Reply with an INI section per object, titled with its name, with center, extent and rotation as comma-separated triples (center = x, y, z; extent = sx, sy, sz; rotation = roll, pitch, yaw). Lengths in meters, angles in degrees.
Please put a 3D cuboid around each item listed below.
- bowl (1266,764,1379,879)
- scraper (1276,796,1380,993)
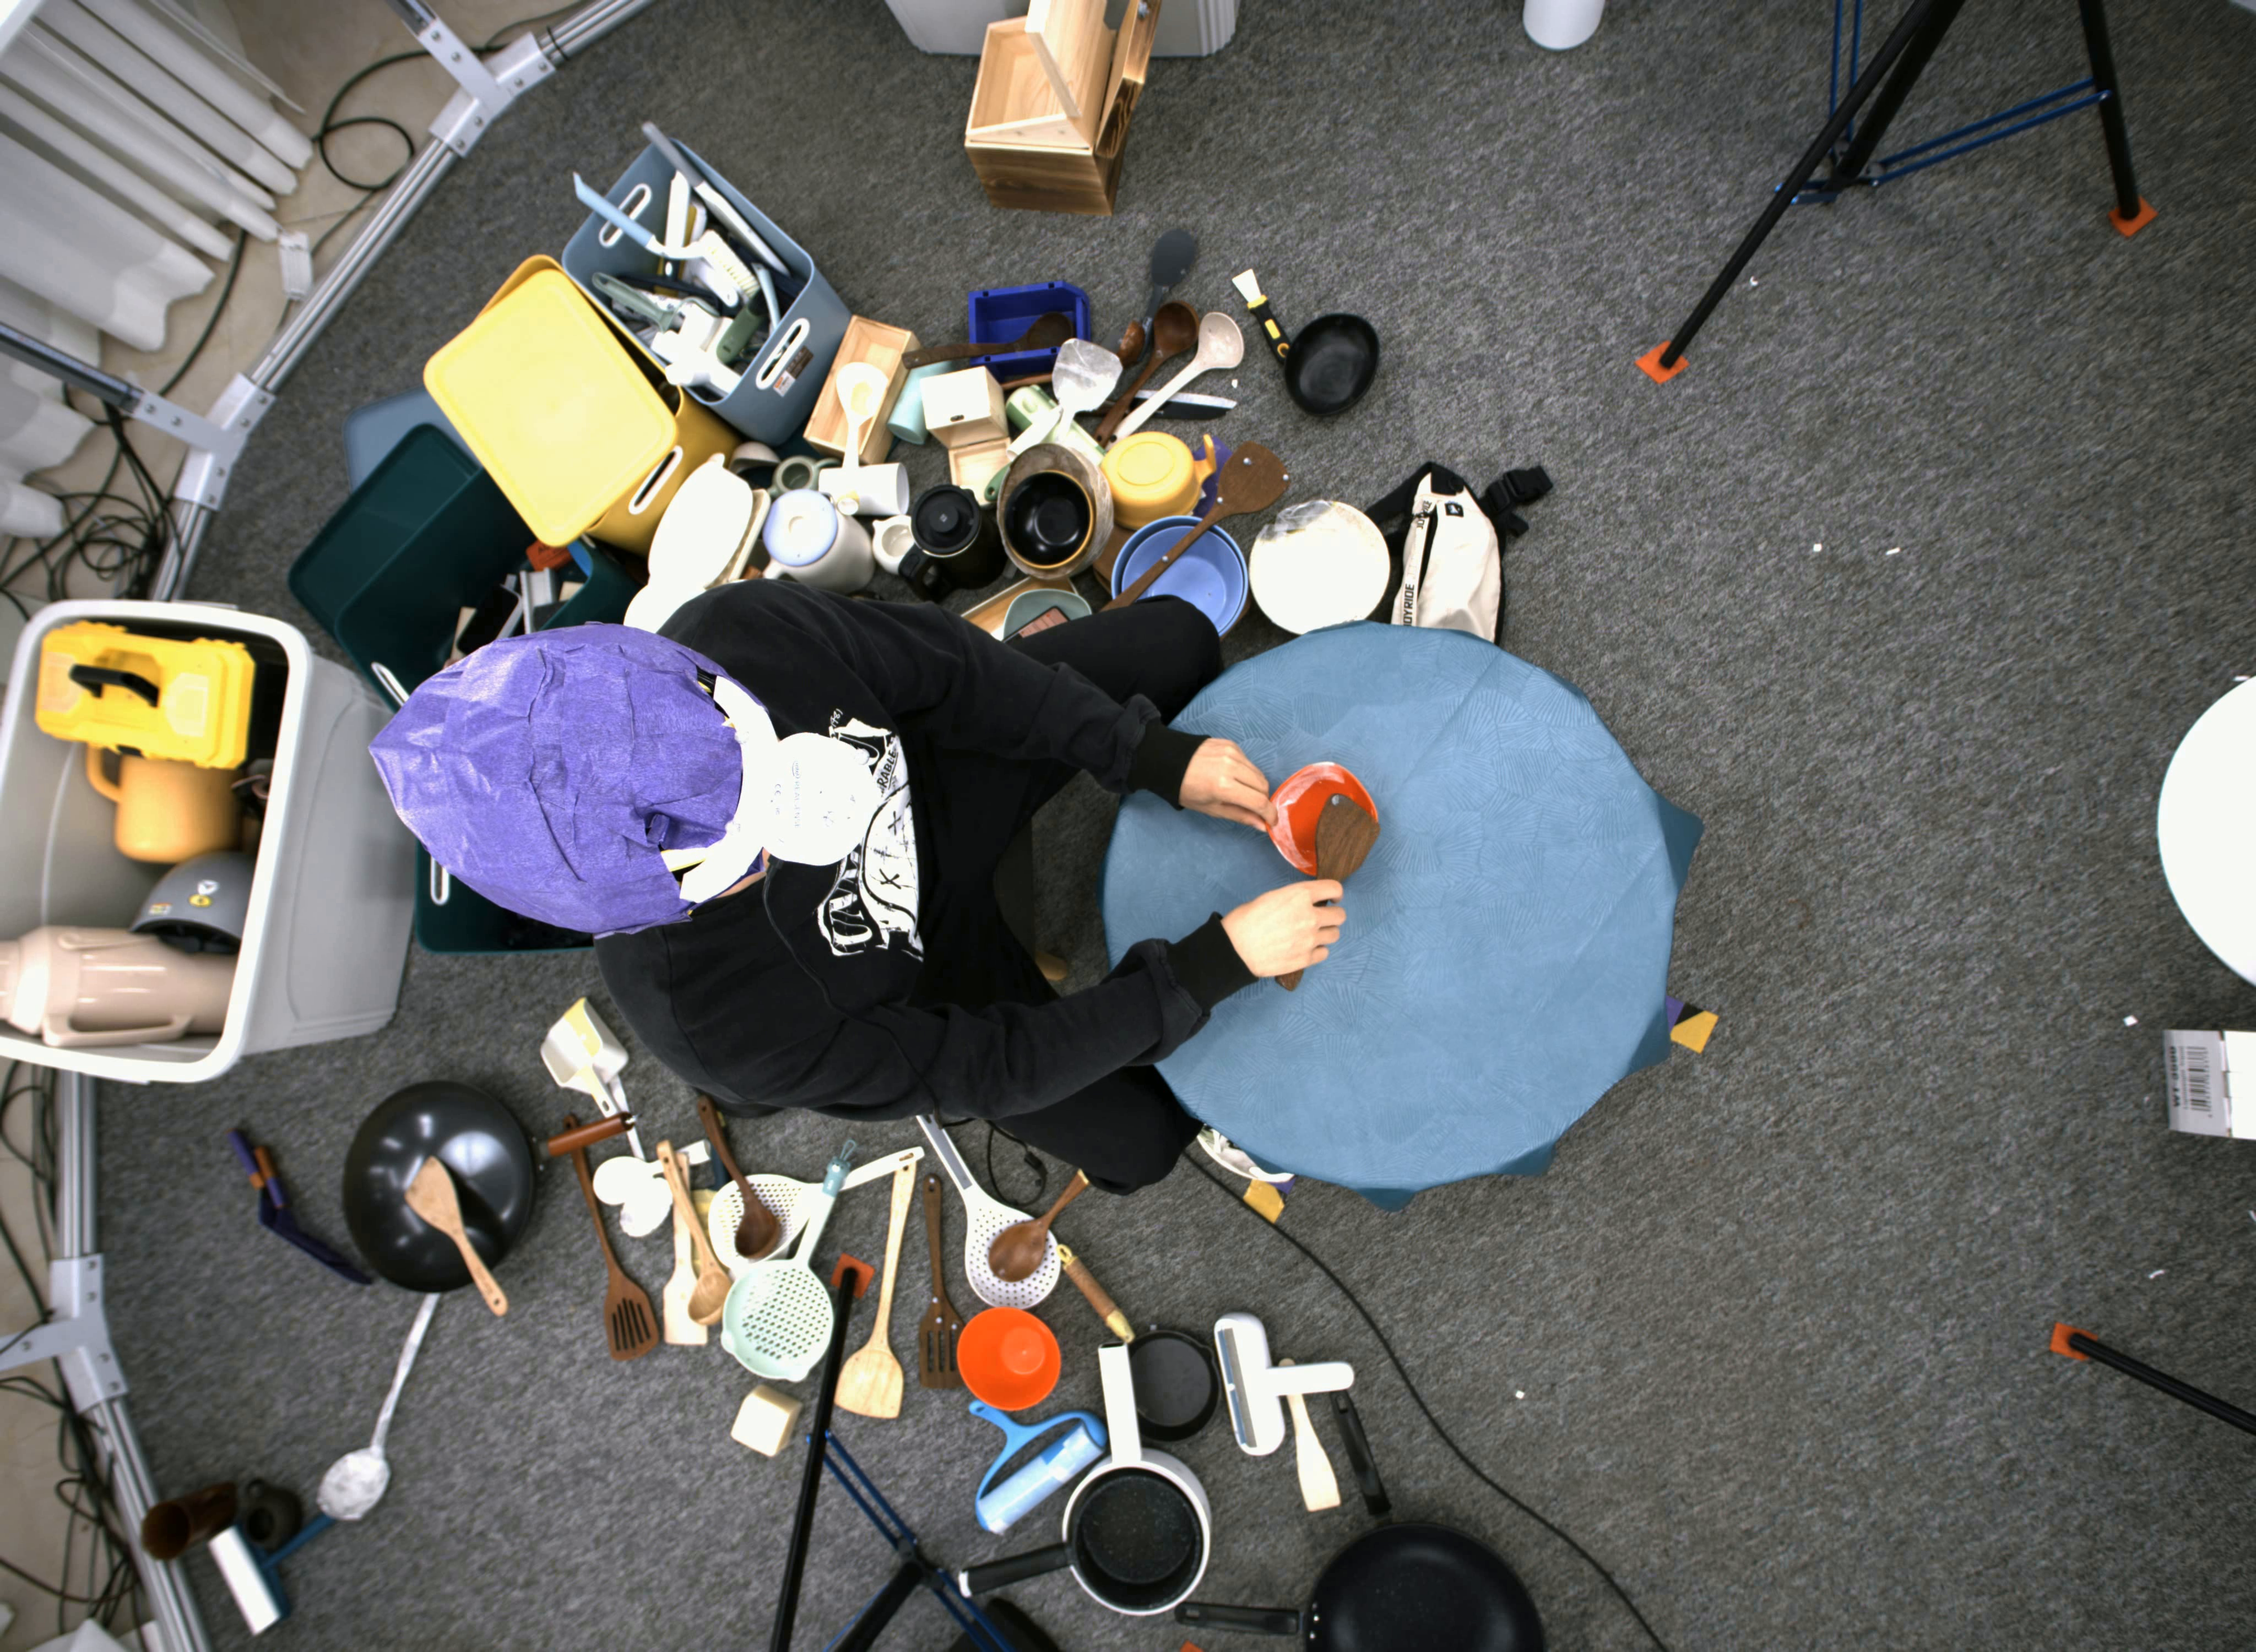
[bowl]
center = 0.200, -0.007, 1.450
extent = 0.119, 0.051, 0.119
rotation = 0, 97, -4
[scraper]
center = 0.193, 0.070, 1.376
extent = 0.076, 0.011, 0.207
rotation = 37, 67, -28
